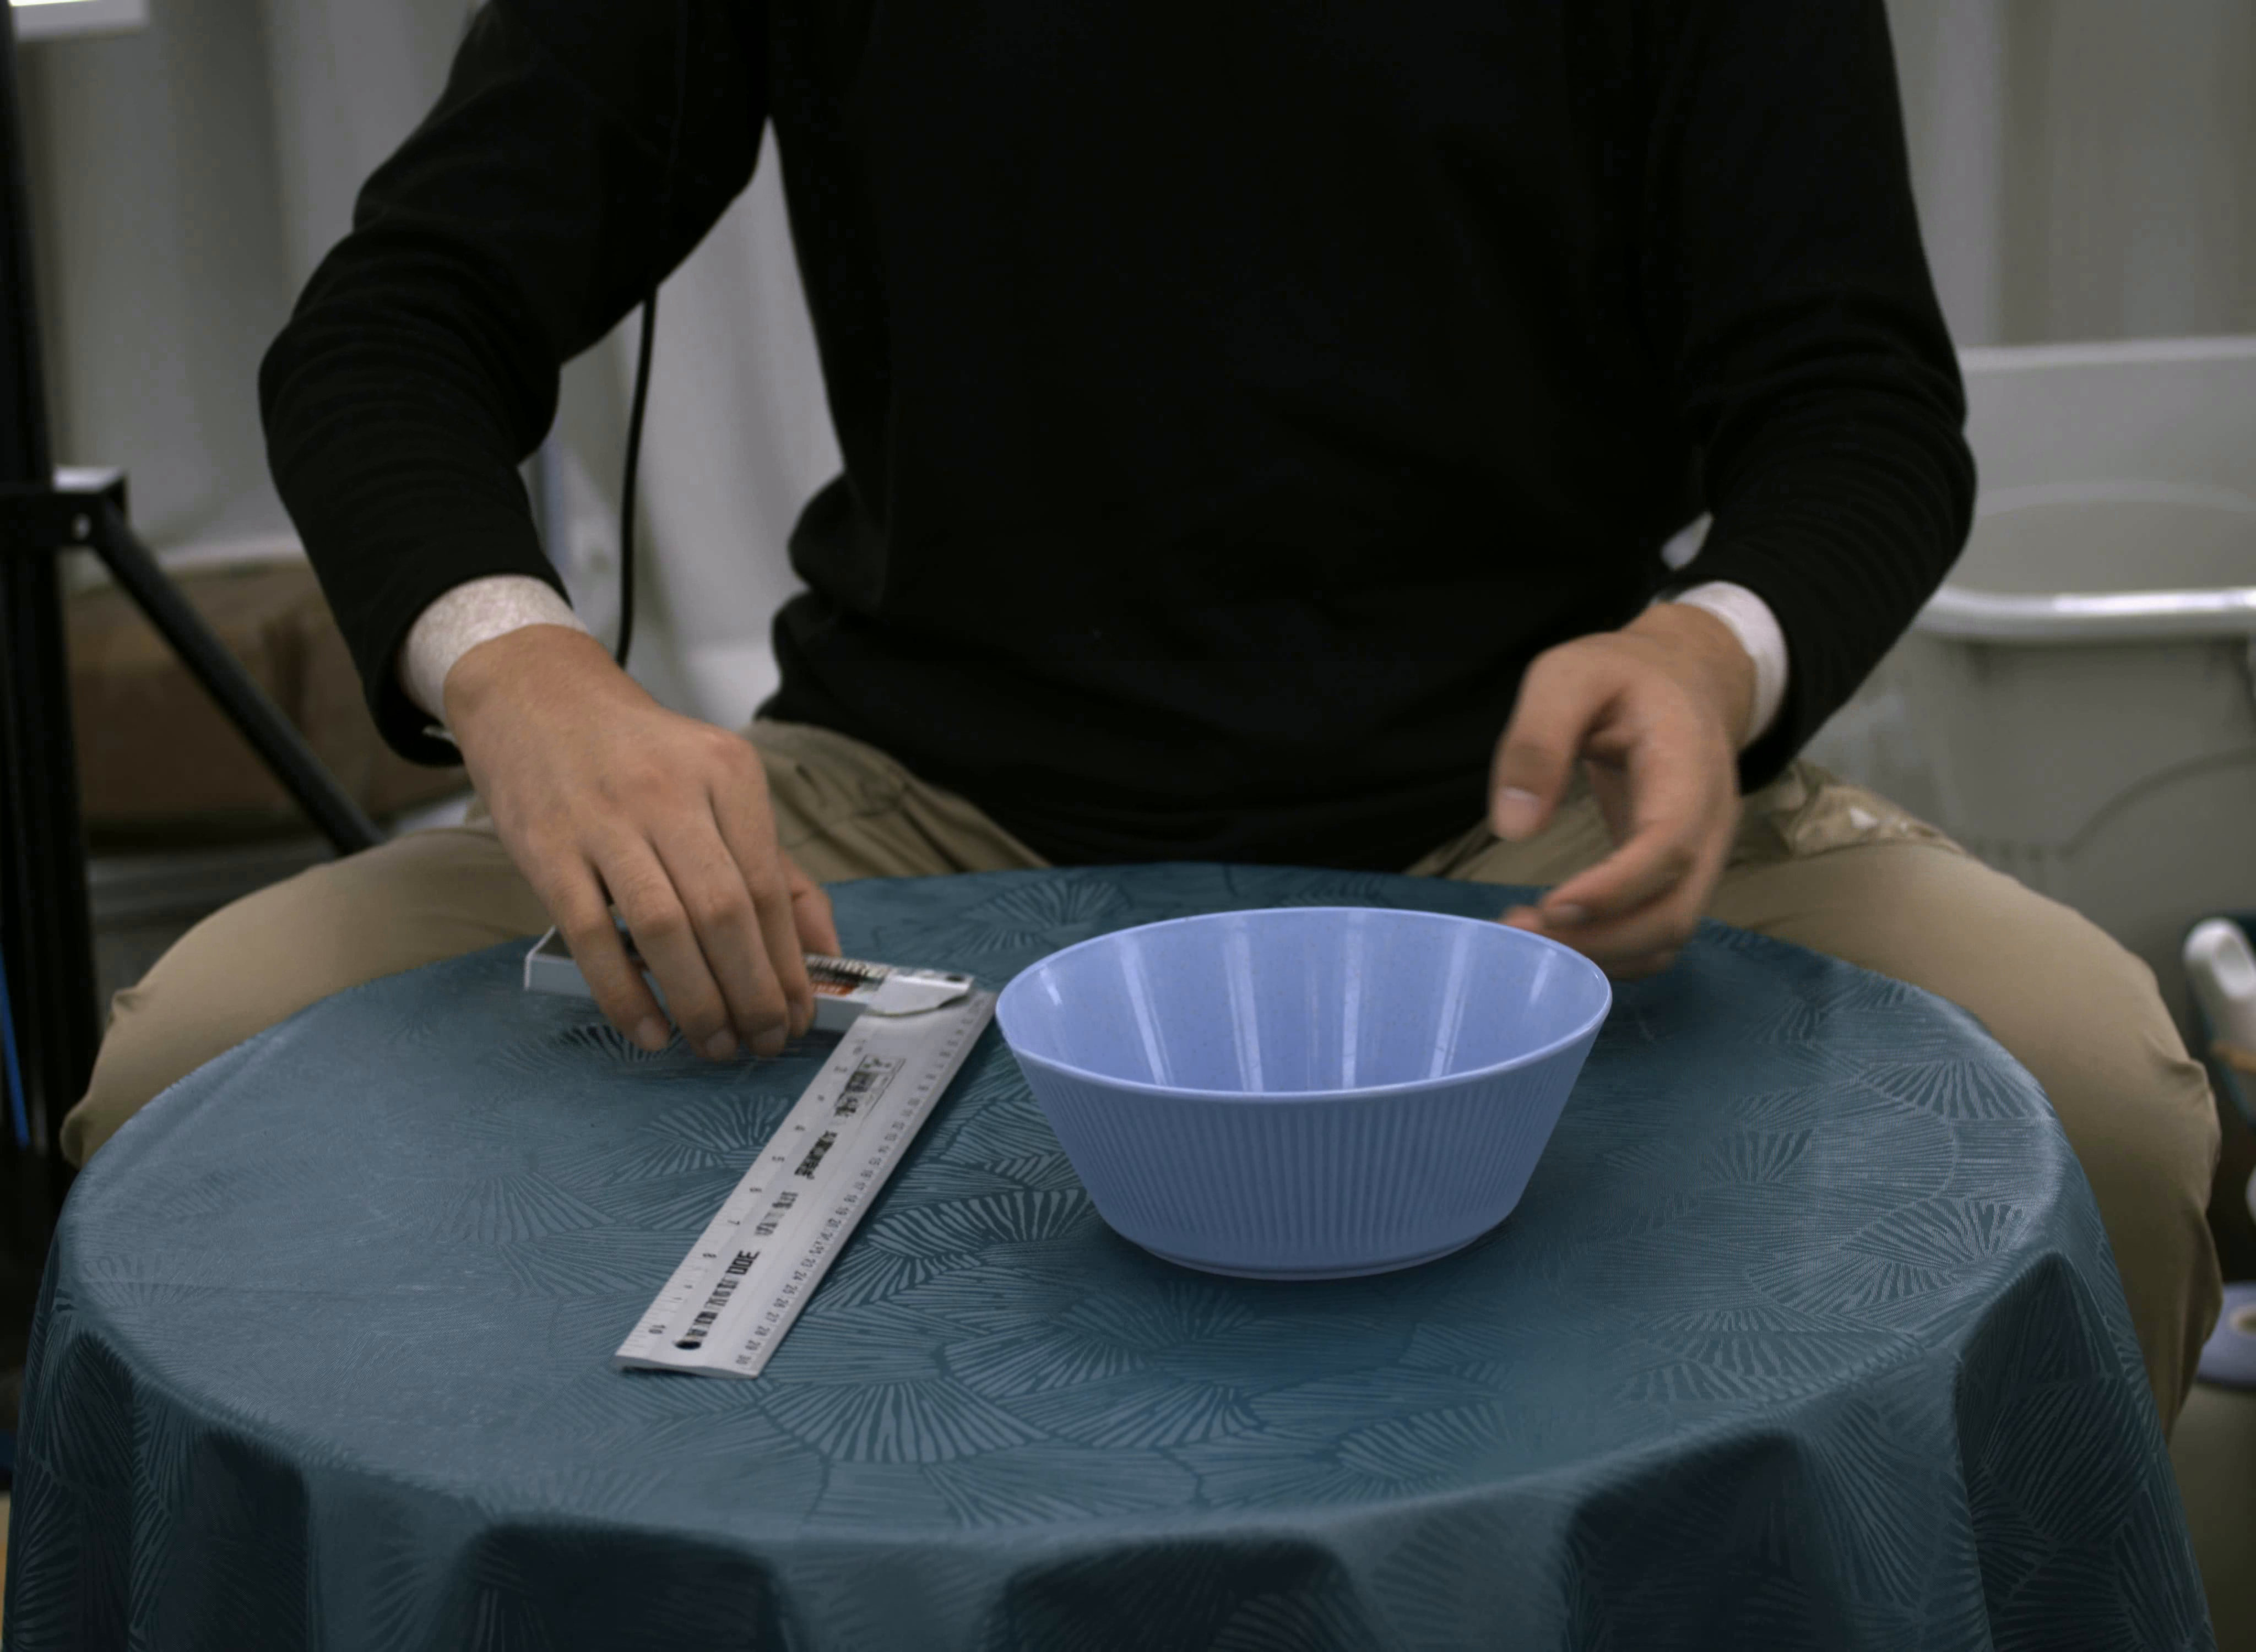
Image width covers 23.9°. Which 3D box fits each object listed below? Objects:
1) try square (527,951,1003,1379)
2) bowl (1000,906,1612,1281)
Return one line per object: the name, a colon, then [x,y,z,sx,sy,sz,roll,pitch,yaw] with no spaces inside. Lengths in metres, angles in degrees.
try square: [-0.141,0.097,1.589,0.153,0.016,0.311,3,18,11]
bowl: [0.052,0.080,1.522,0.175,0.070,0.177,-3,16,-1]
